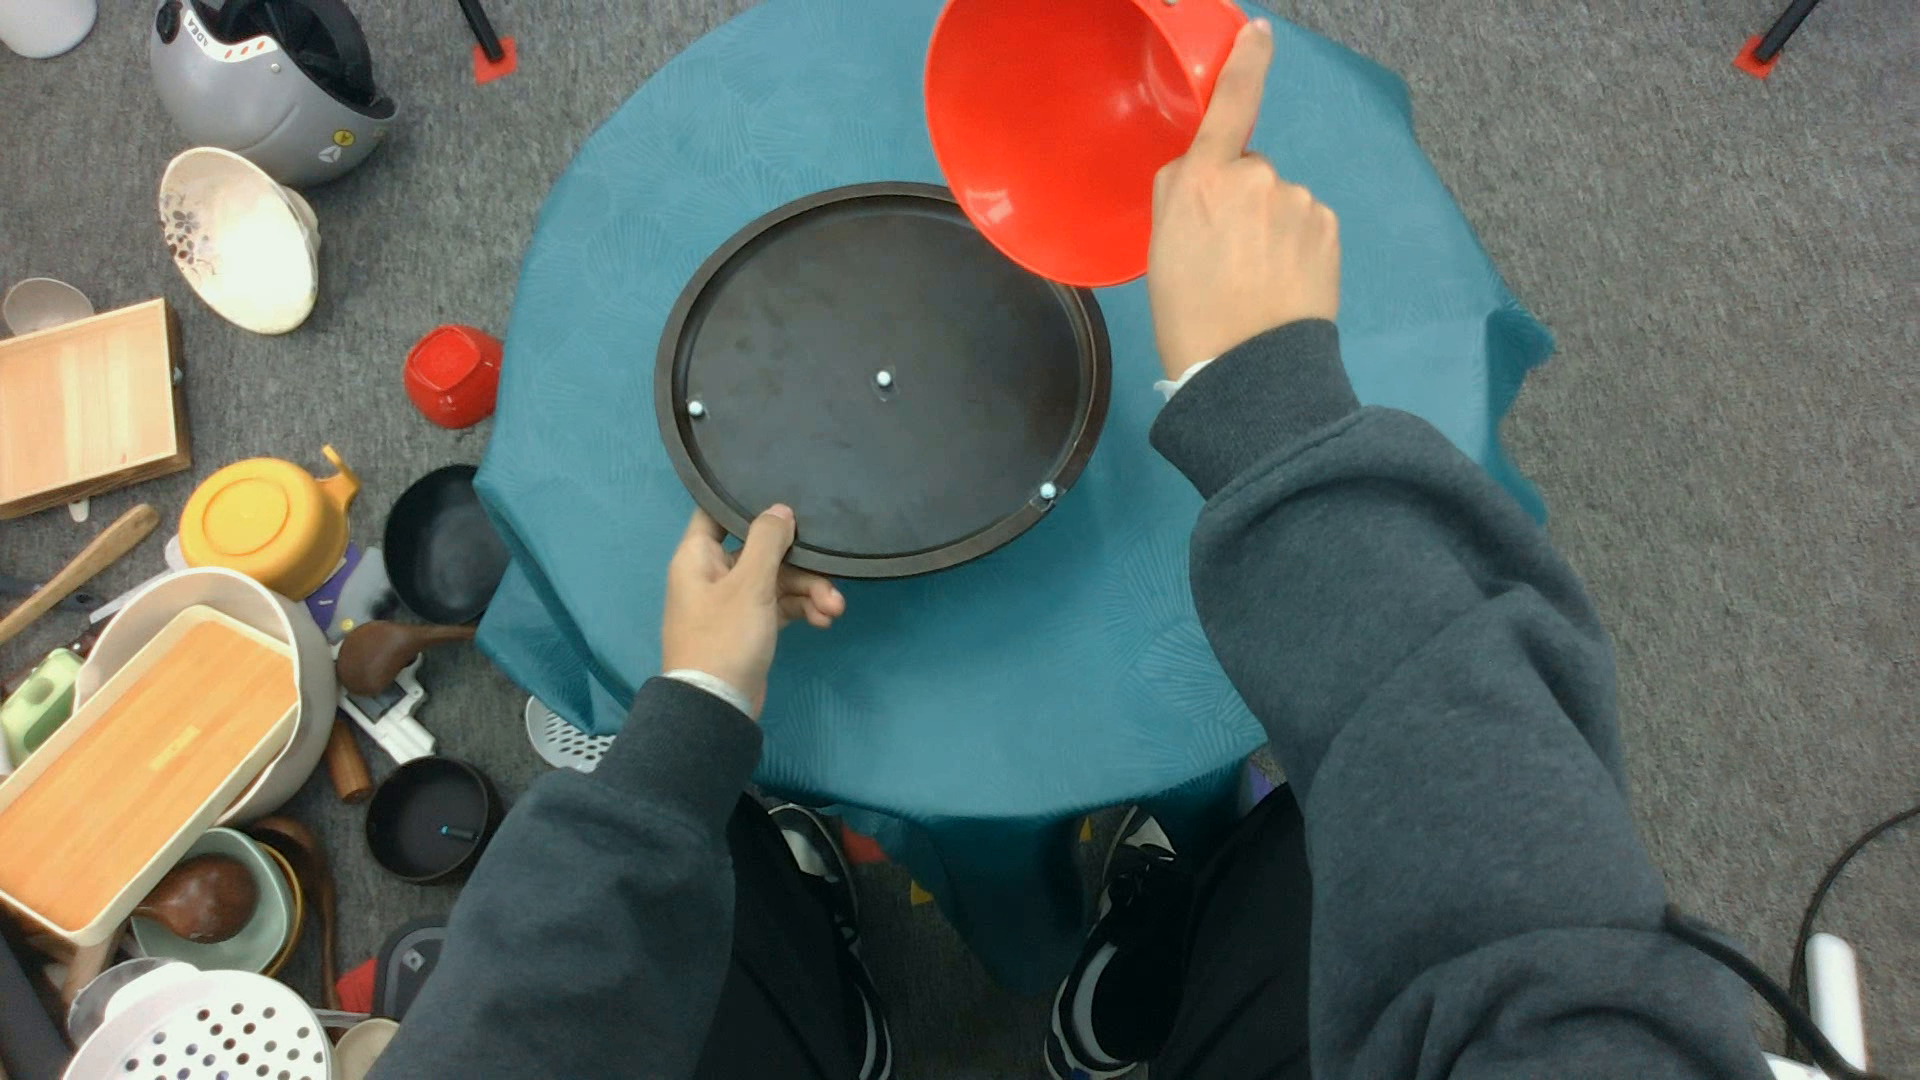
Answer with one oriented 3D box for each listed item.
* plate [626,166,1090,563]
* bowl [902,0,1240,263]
[{"bbox_3d":[-0.056,-0.102,0.759,0.255,0.029,0.255,0,66,0],"label":"plate"},{"bbox_3d":[0.061,-0.212,0.633,0.105,0.147,0.148,-35,70,-30],"label":"bowl"}]
